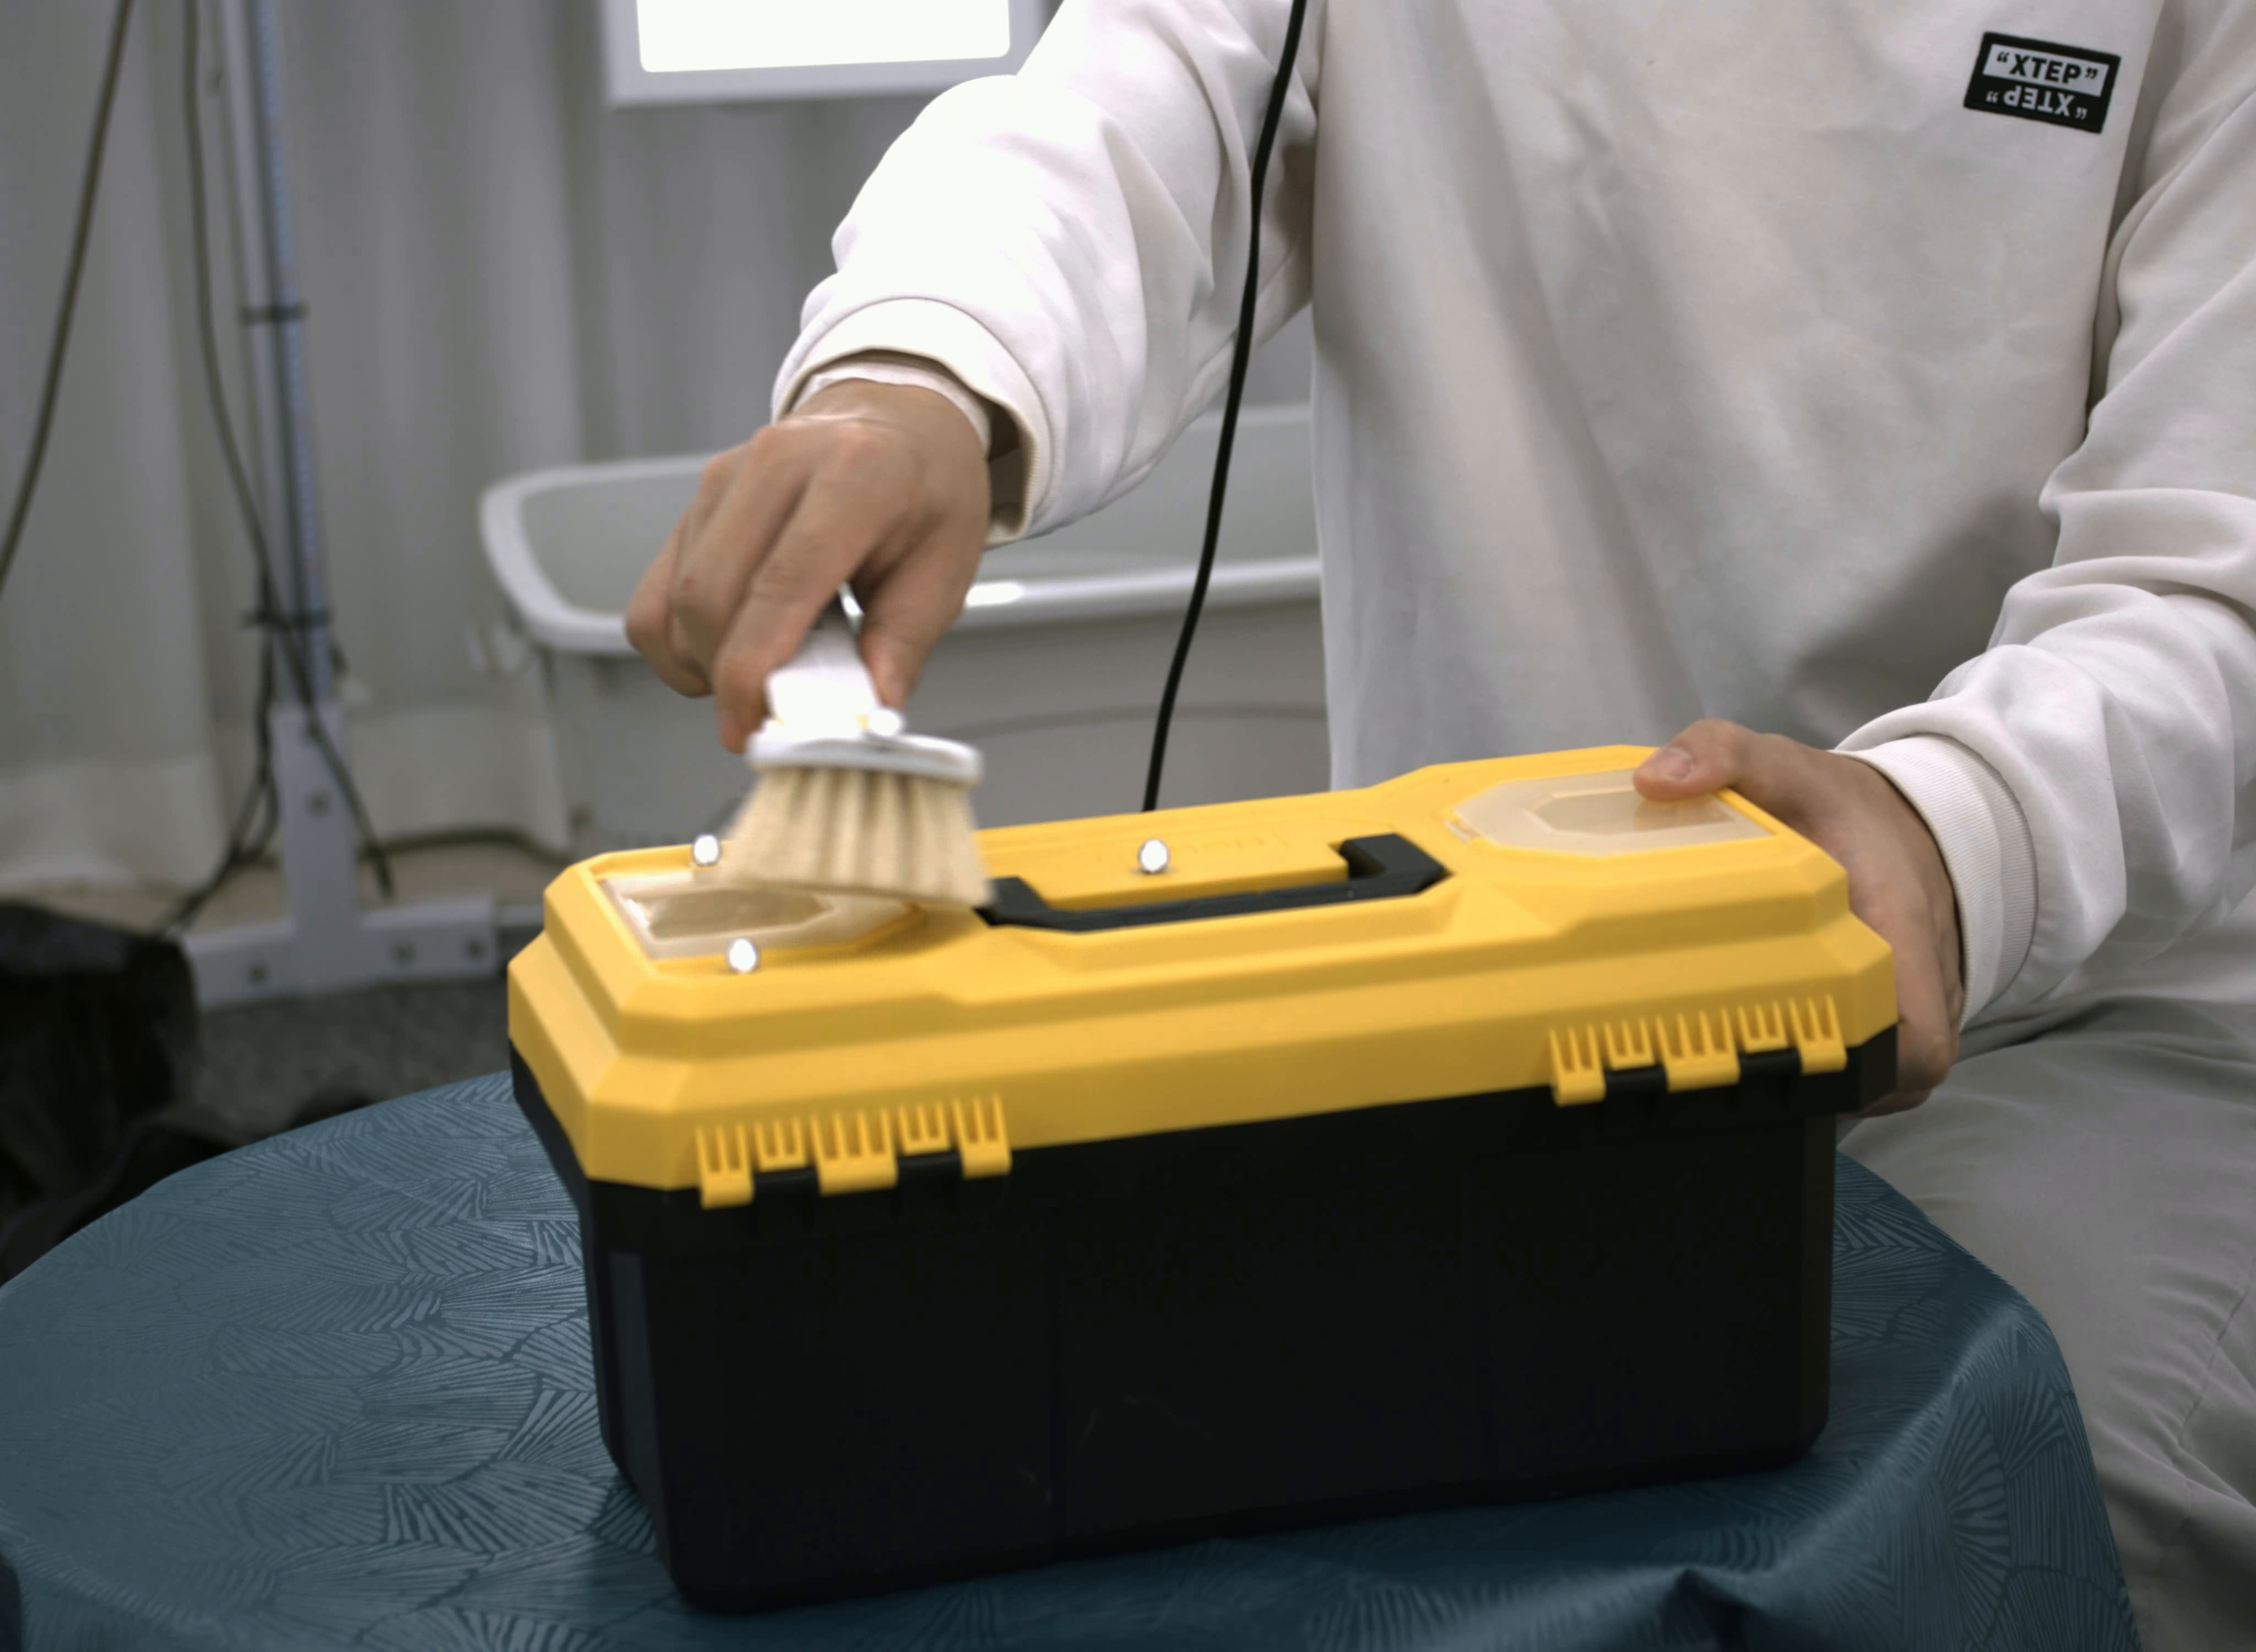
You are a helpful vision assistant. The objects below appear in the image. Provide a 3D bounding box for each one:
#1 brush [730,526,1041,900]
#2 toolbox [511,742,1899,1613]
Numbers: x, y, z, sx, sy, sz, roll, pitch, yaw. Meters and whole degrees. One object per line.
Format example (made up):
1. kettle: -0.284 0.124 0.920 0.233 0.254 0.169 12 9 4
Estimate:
1. brush: -0.077 -0.030 1.497 0.068 0.056 0.268 9 11 -16
2. toolbox: 0.019 0.090 1.473 0.350 0.172 0.183 -6 15 -13
